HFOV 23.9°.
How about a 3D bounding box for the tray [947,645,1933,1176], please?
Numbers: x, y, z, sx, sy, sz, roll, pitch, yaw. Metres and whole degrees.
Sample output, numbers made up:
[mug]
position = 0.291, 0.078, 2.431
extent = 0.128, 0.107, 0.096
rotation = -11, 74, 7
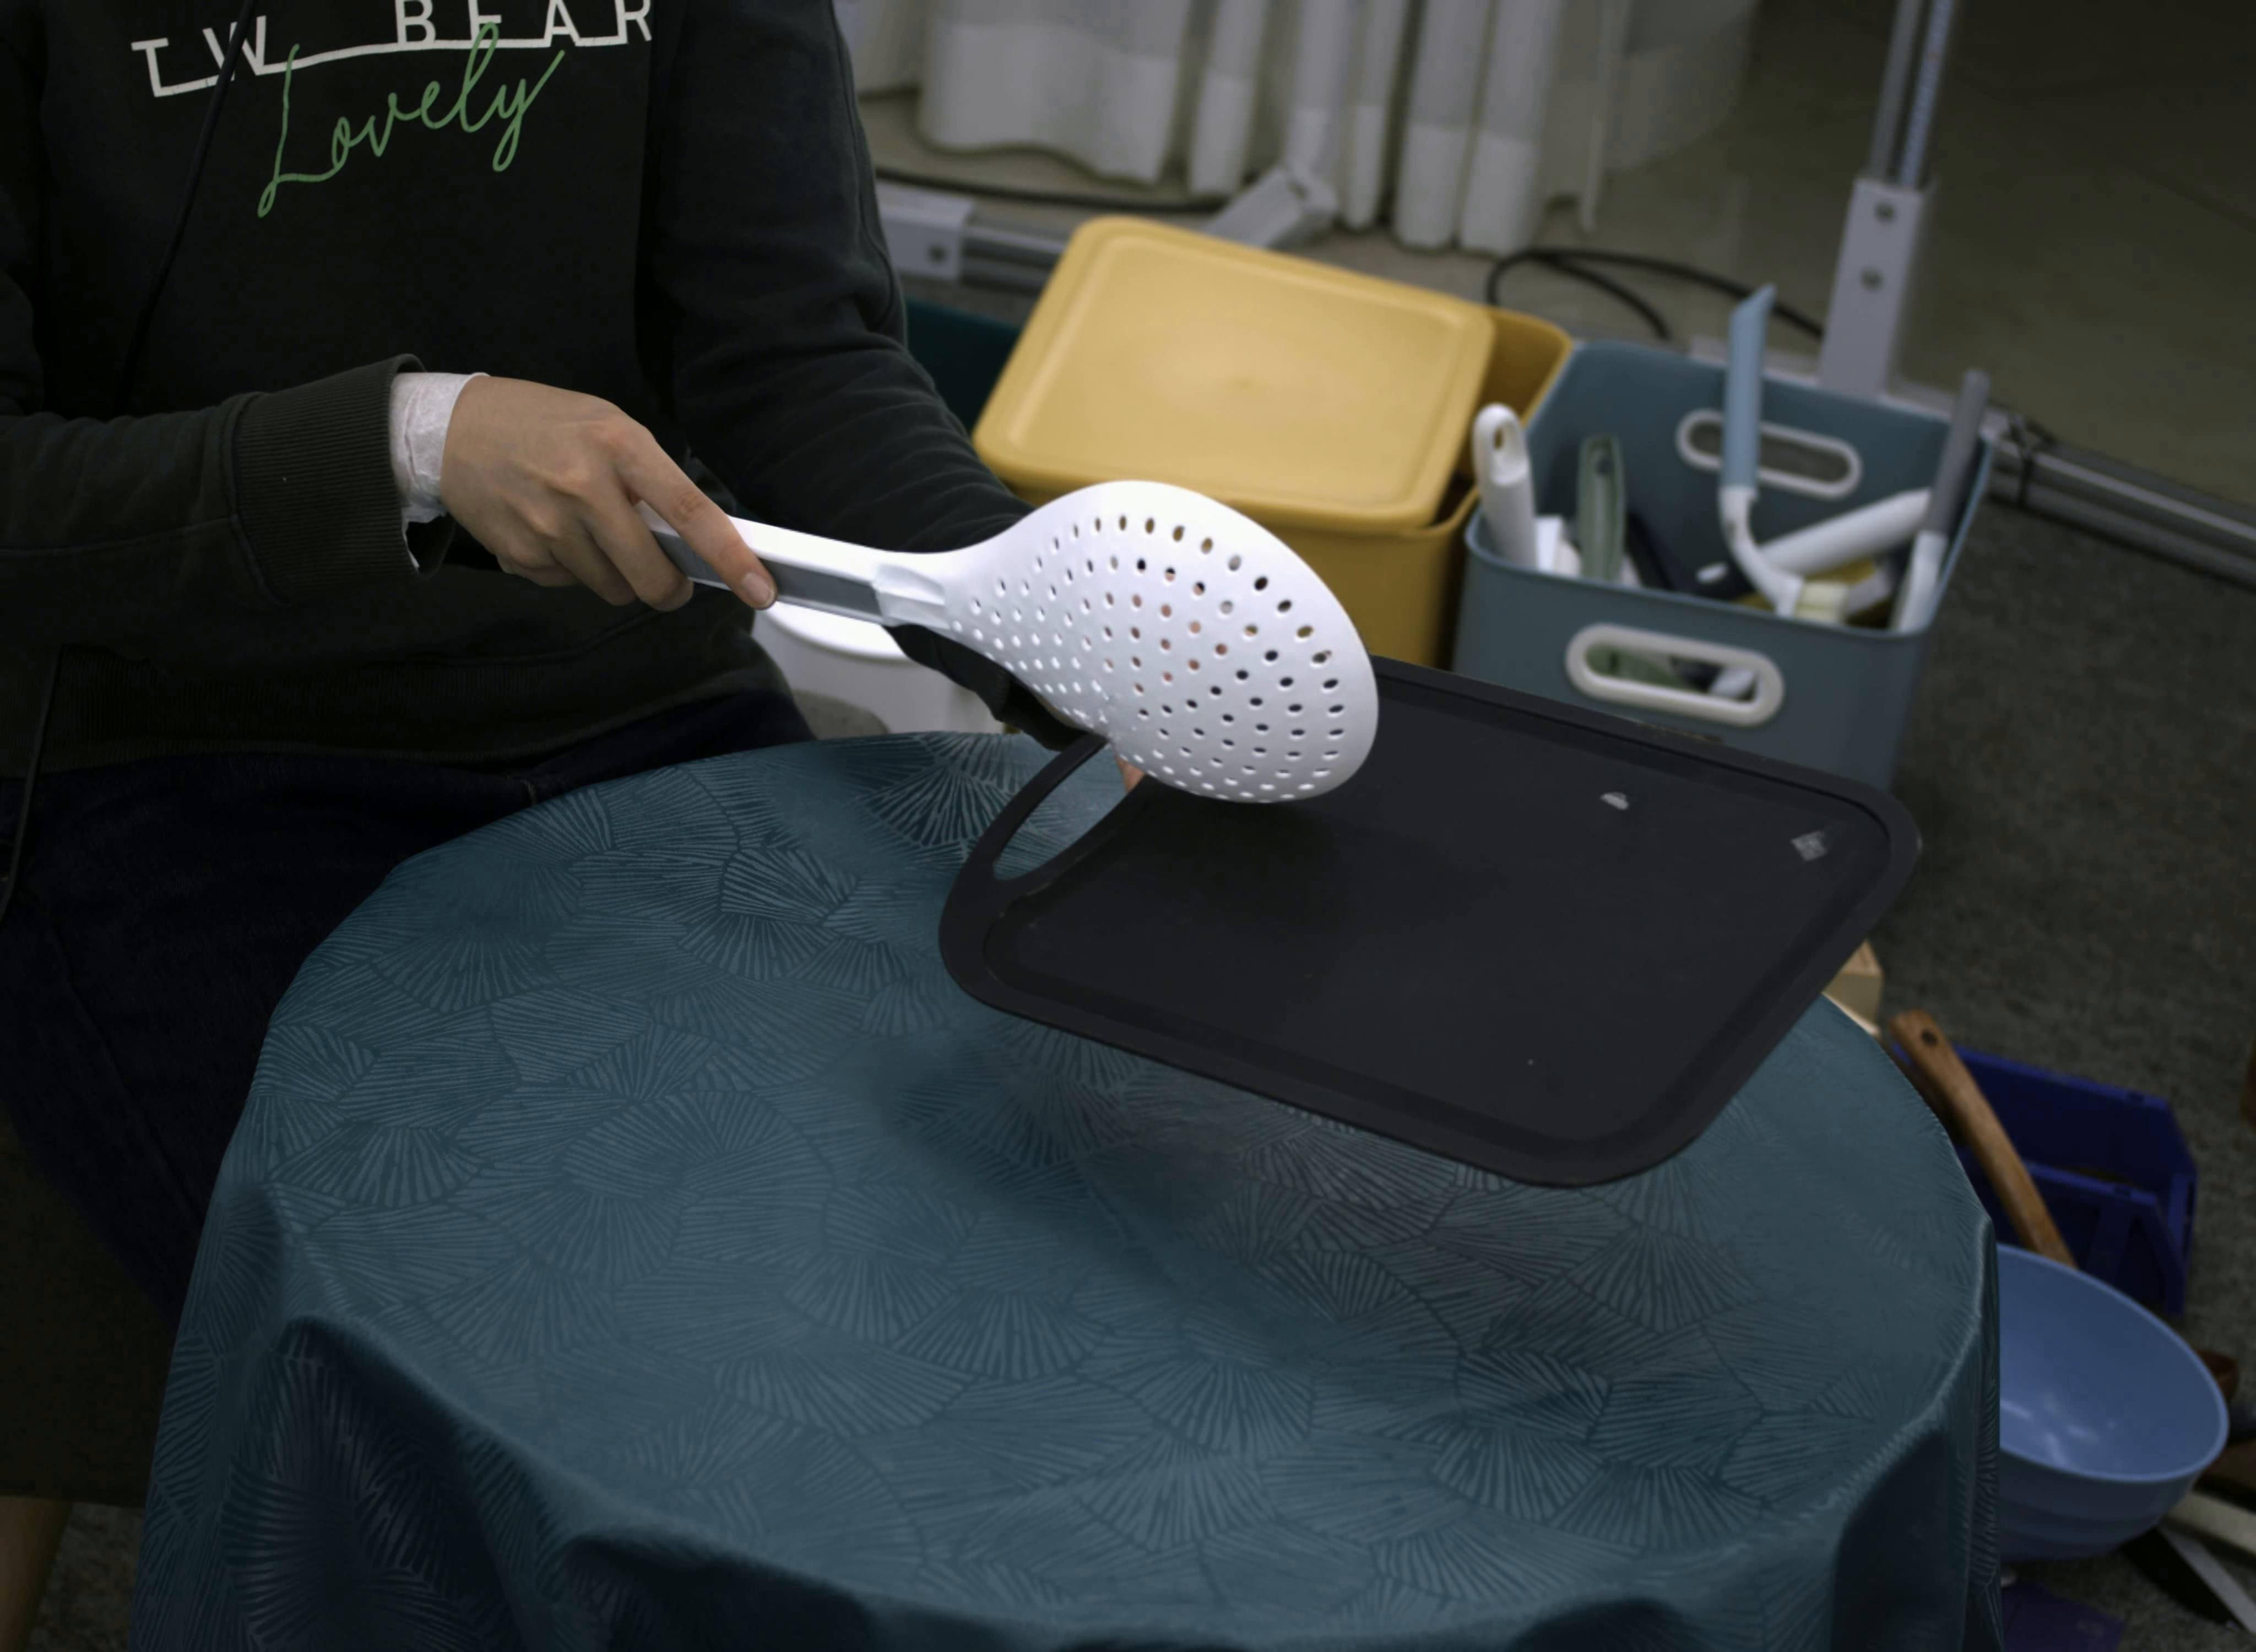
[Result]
[tray]
position = 0.093, 0.019, 1.786
extent = 0.327, 0.010, 0.211
rotation = 16, 47, 37

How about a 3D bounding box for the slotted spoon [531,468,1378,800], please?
[slotted spoon]
position = -0.069, -0.081, 1.859
extent = 0.352, 0.135, 0.046
rotation = 17, 46, 35
